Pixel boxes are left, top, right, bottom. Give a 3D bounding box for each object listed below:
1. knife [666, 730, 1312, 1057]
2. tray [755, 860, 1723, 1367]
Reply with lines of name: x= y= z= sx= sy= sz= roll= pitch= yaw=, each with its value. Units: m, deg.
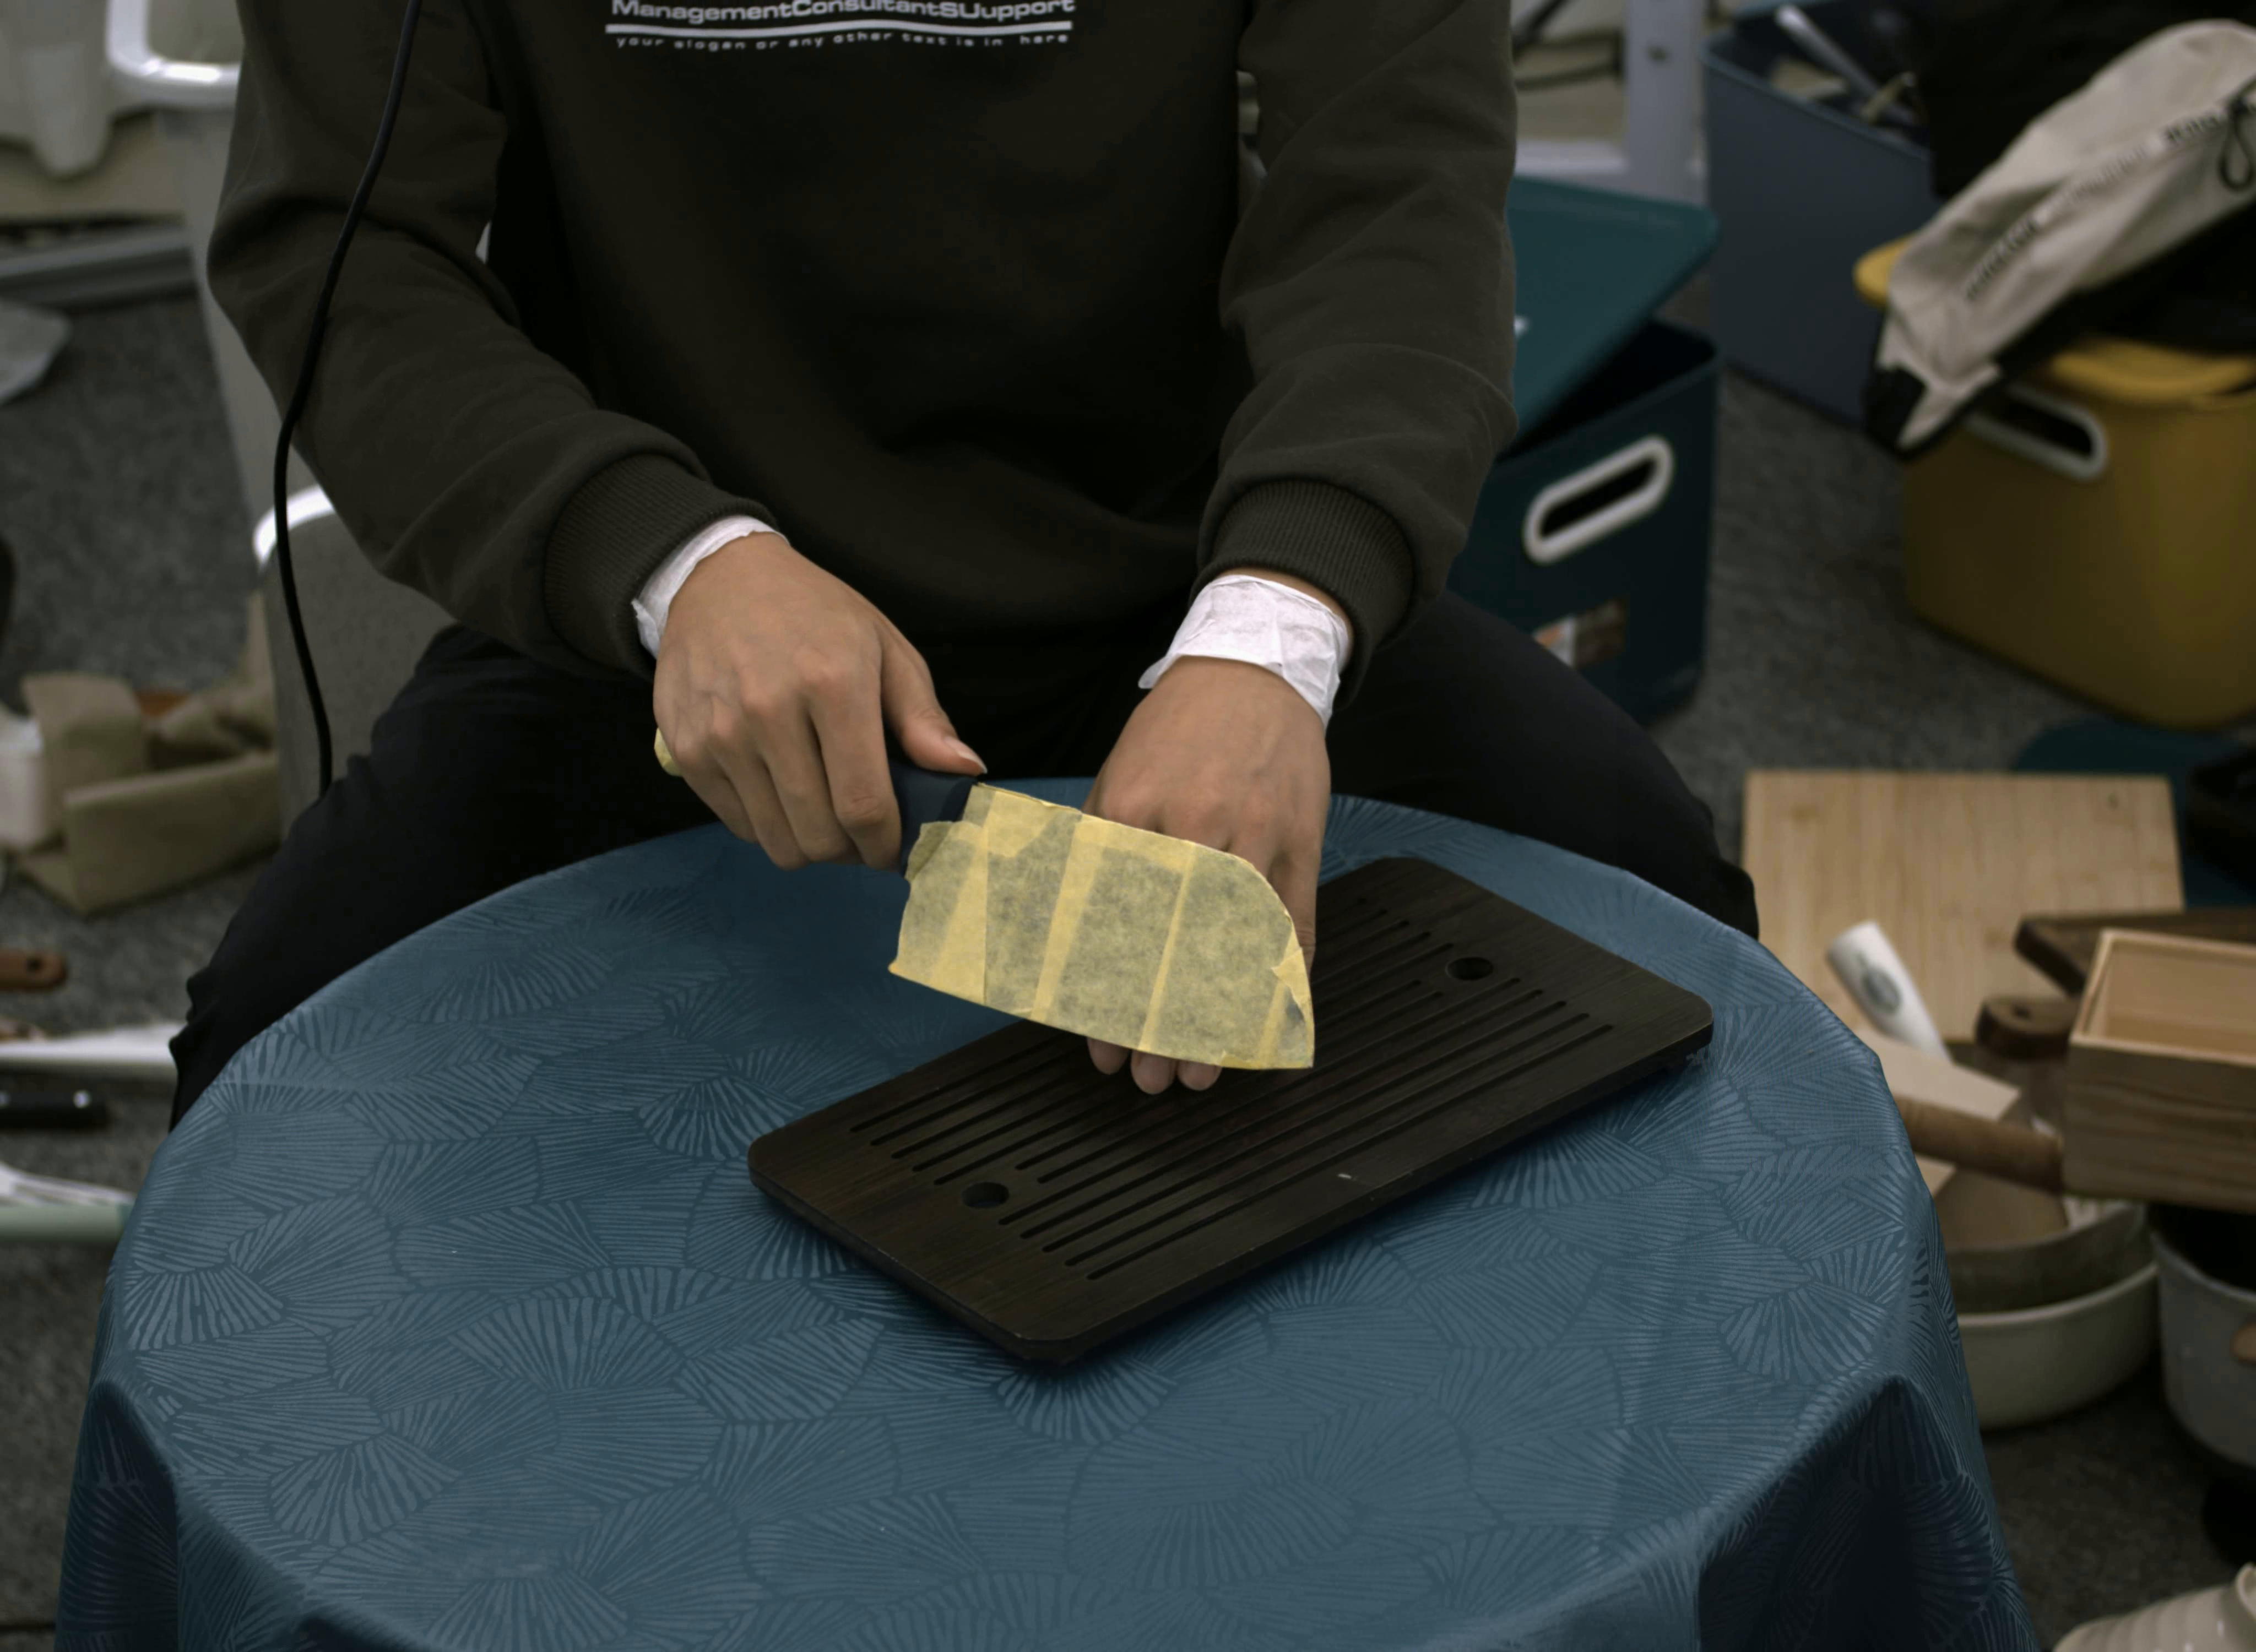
knife: x=-0.052 y=0.020 z=1.917 sx=0.288 sy=0.081 sz=0.027 roll=19 pitch=-2 yaw=35
tray: x=0.040 y=0.094 z=1.891 sx=0.309 sy=0.018 sz=0.170 roll=-23 pitch=33 yaw=-34
